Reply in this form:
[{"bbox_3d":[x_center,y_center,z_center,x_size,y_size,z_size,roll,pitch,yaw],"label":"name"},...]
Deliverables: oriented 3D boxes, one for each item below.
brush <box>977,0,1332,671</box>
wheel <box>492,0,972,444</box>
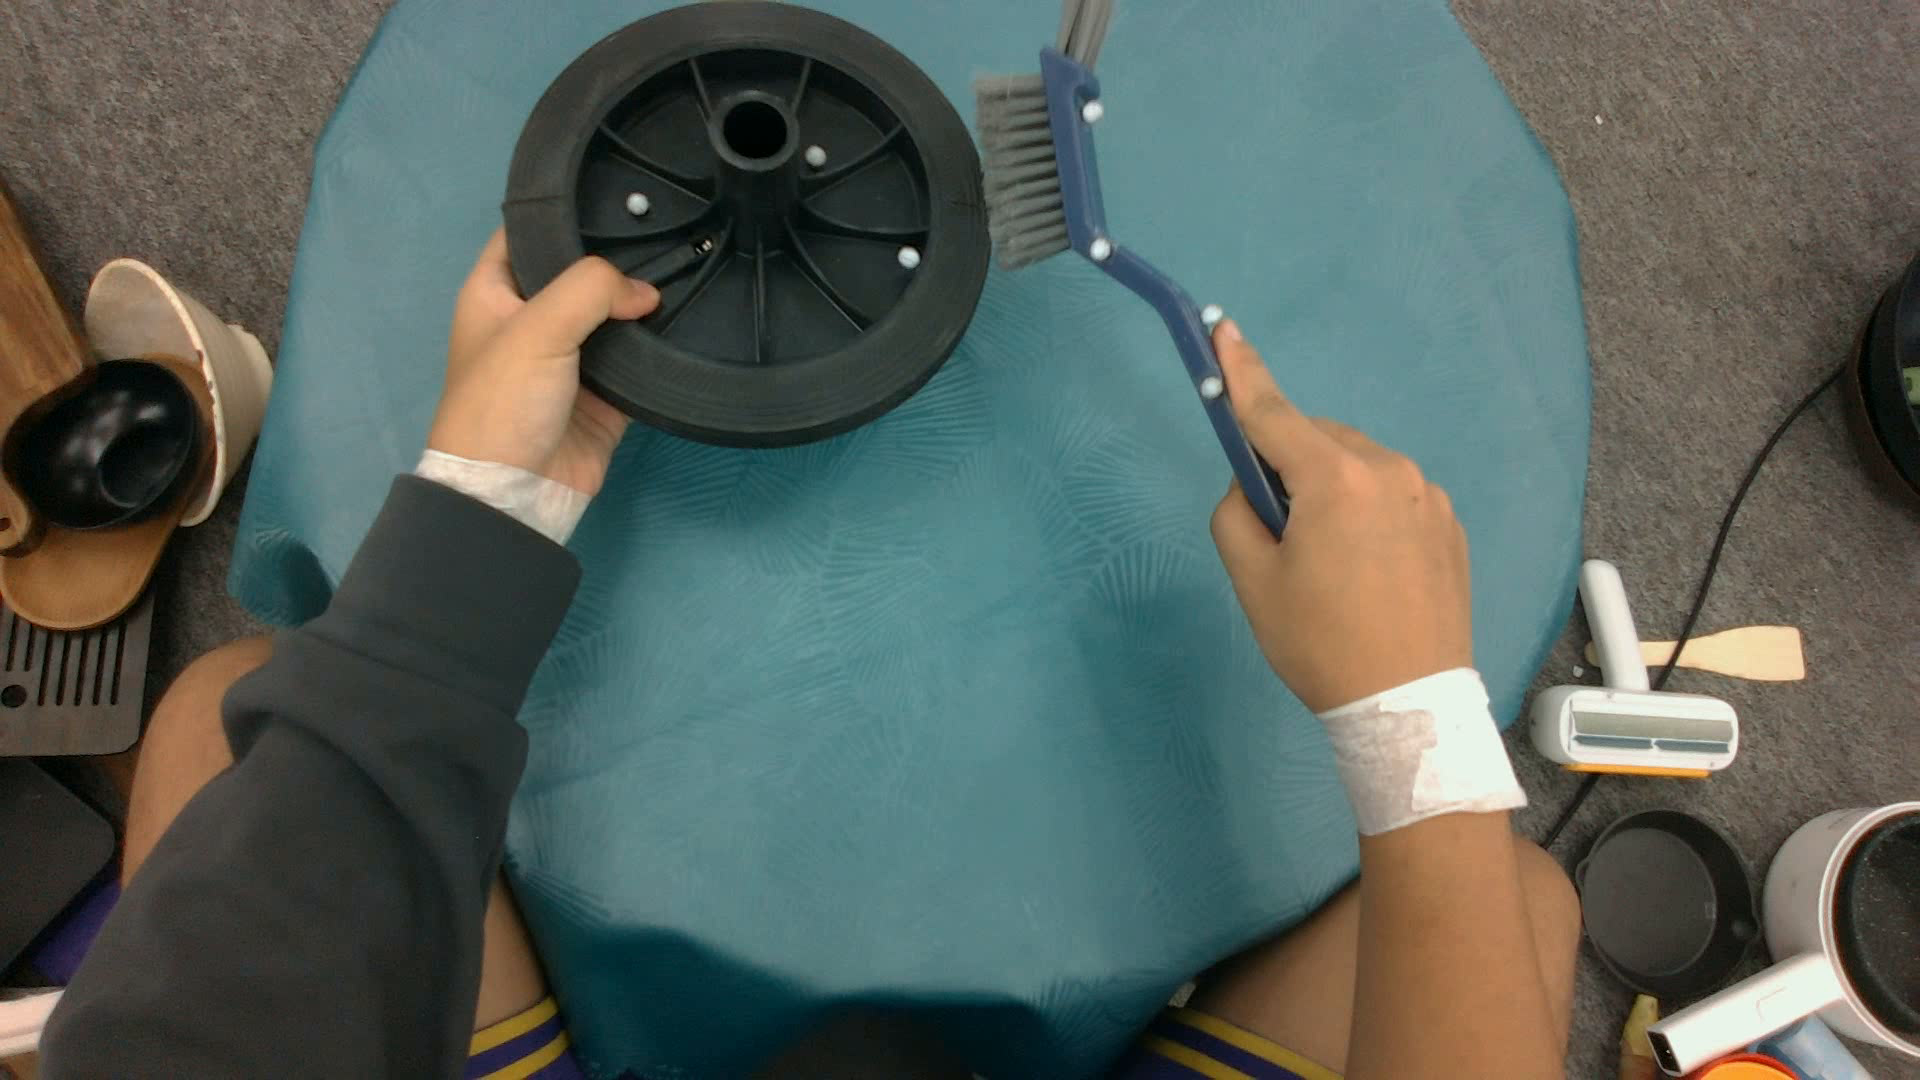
[{"bbox_3d":[0.090,-0.082,0.528,0.095,0.033,0.273,-35,84,15],"label":"brush"},{"bbox_3d":[-0.086,-0.136,0.527,0.187,0.079,0.190,31,72,1],"label":"wheel"}]
